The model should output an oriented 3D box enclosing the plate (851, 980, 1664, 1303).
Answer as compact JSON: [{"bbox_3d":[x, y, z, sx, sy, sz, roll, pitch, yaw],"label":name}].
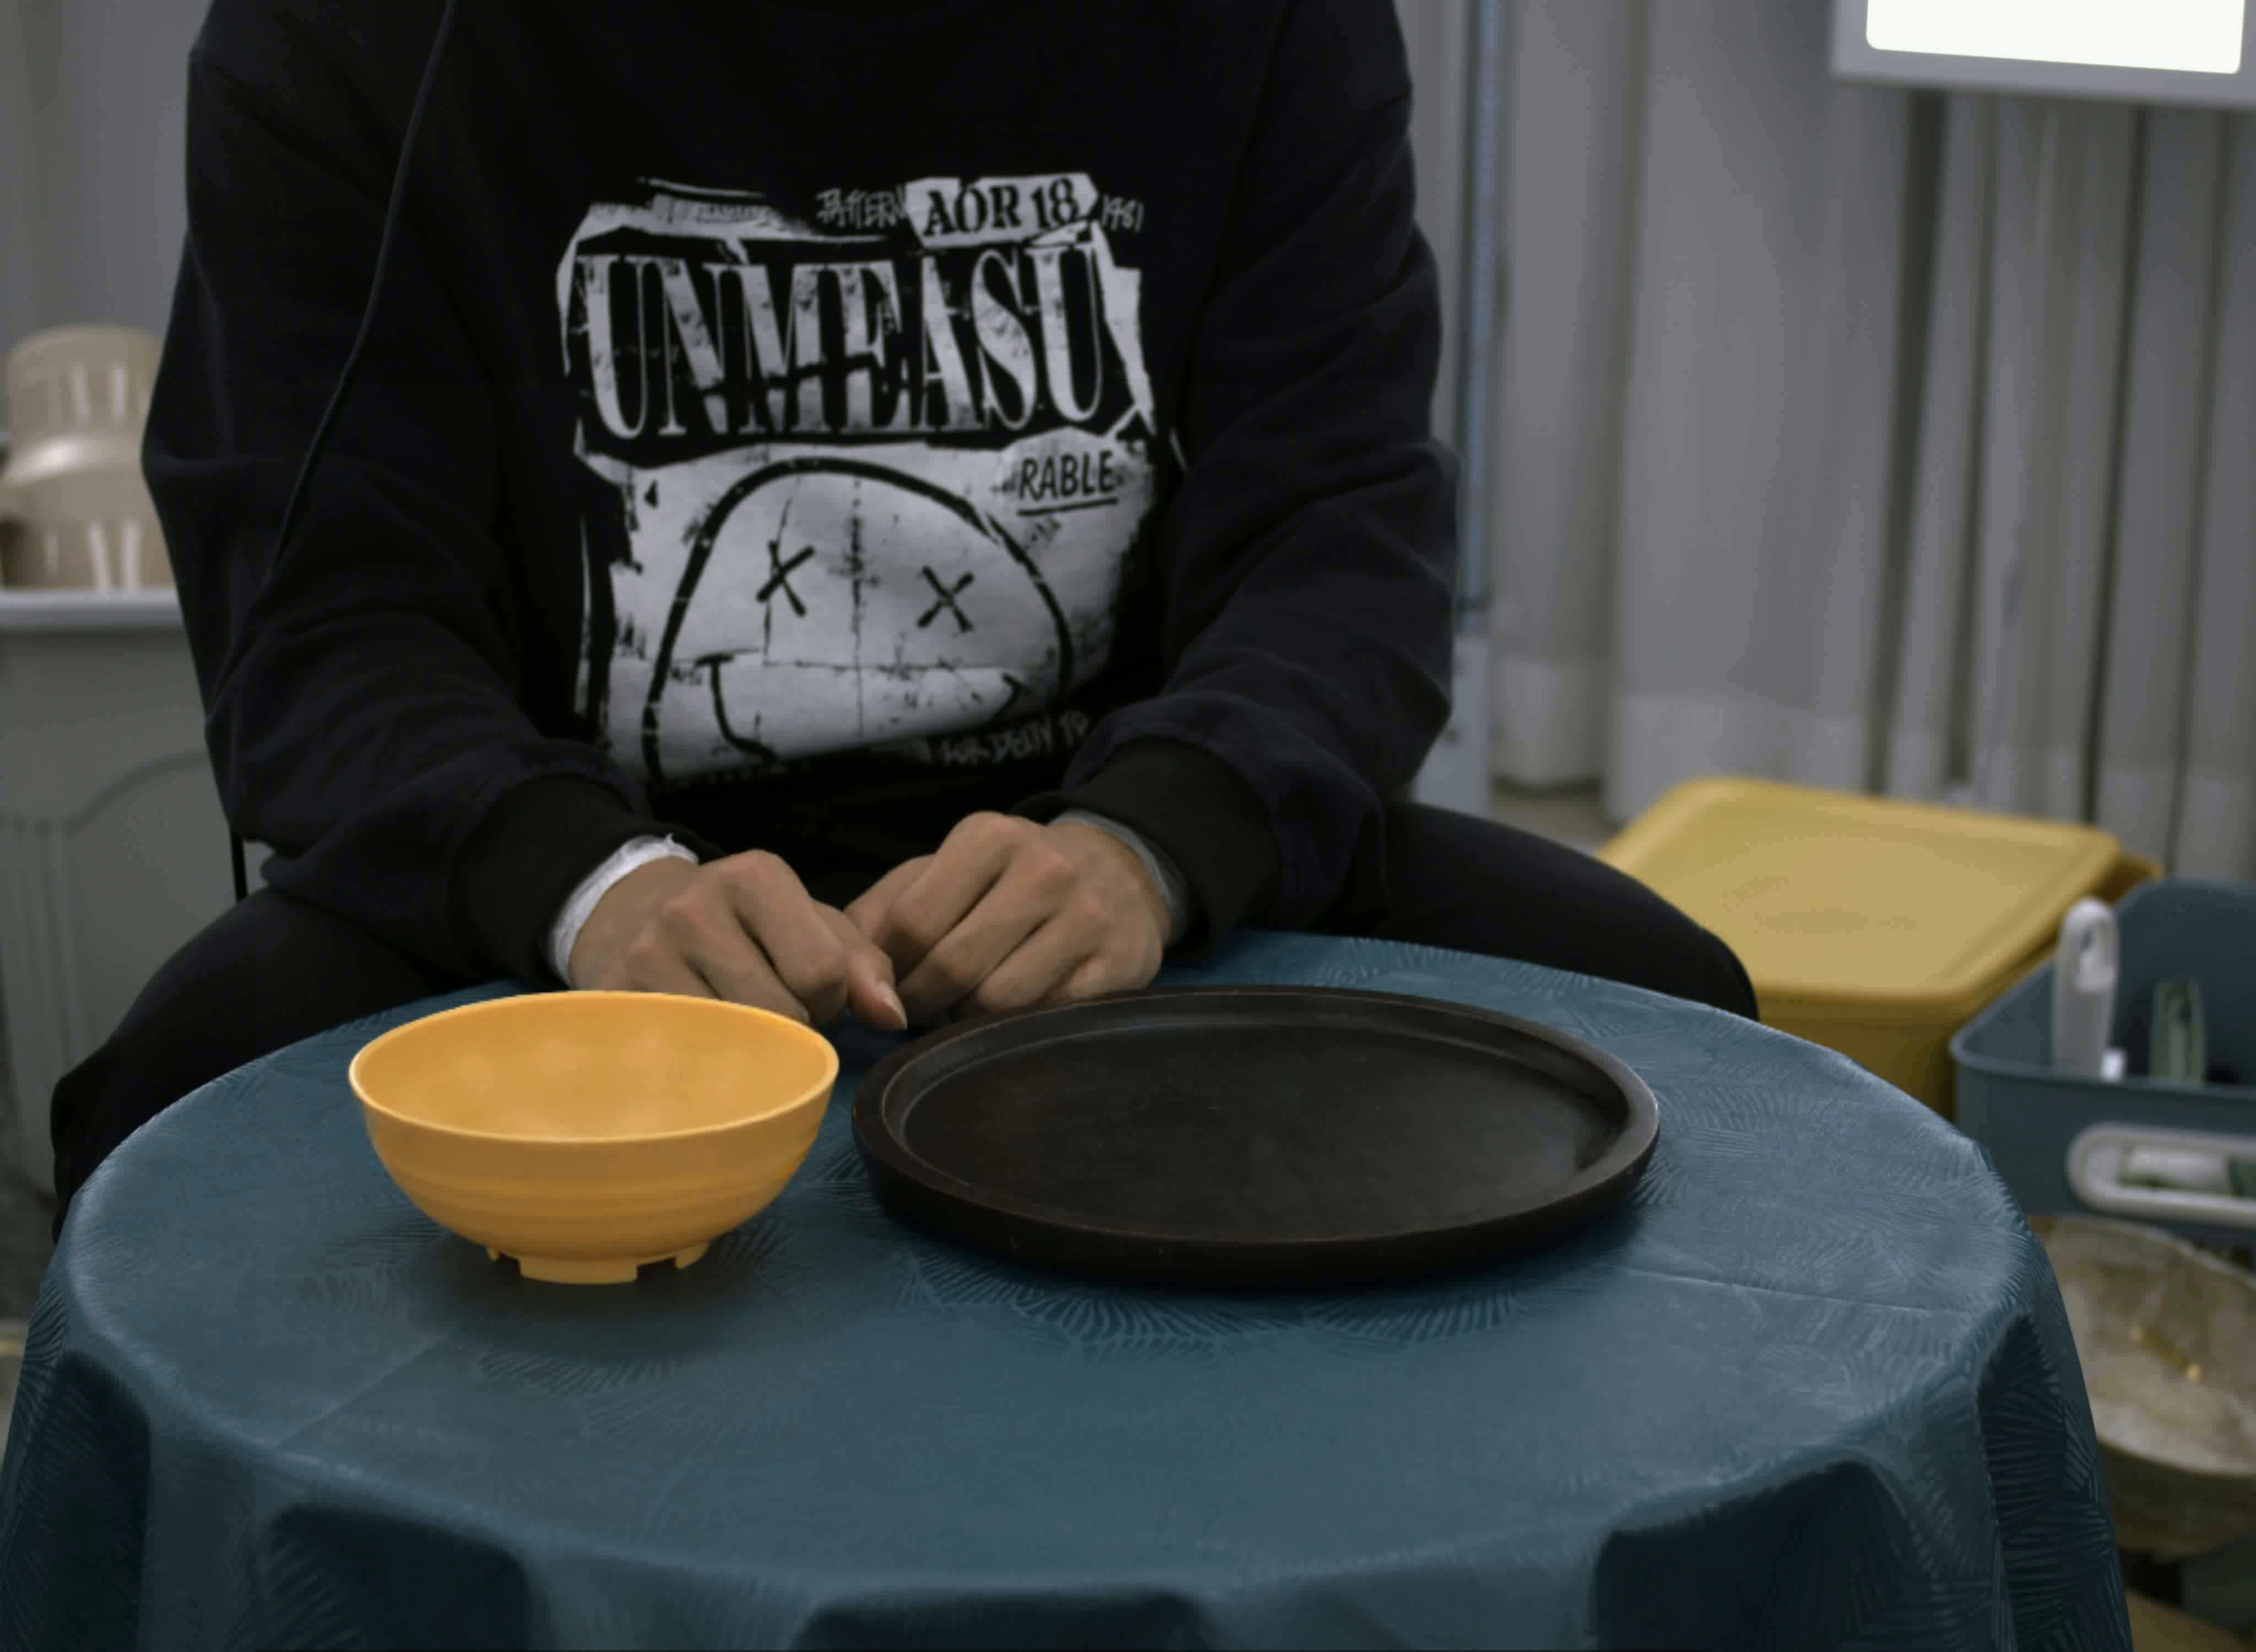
[{"bbox_3d":[0.040,0.096,1.645,0.254,0.029,0.253,-1,15,1],"label":"plate"}]

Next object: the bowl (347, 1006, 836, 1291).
[{"bbox_3d":[-0.159,0.100,1.564,0.145,0.060,0.144,2,13,0],"label":"bowl"}]
